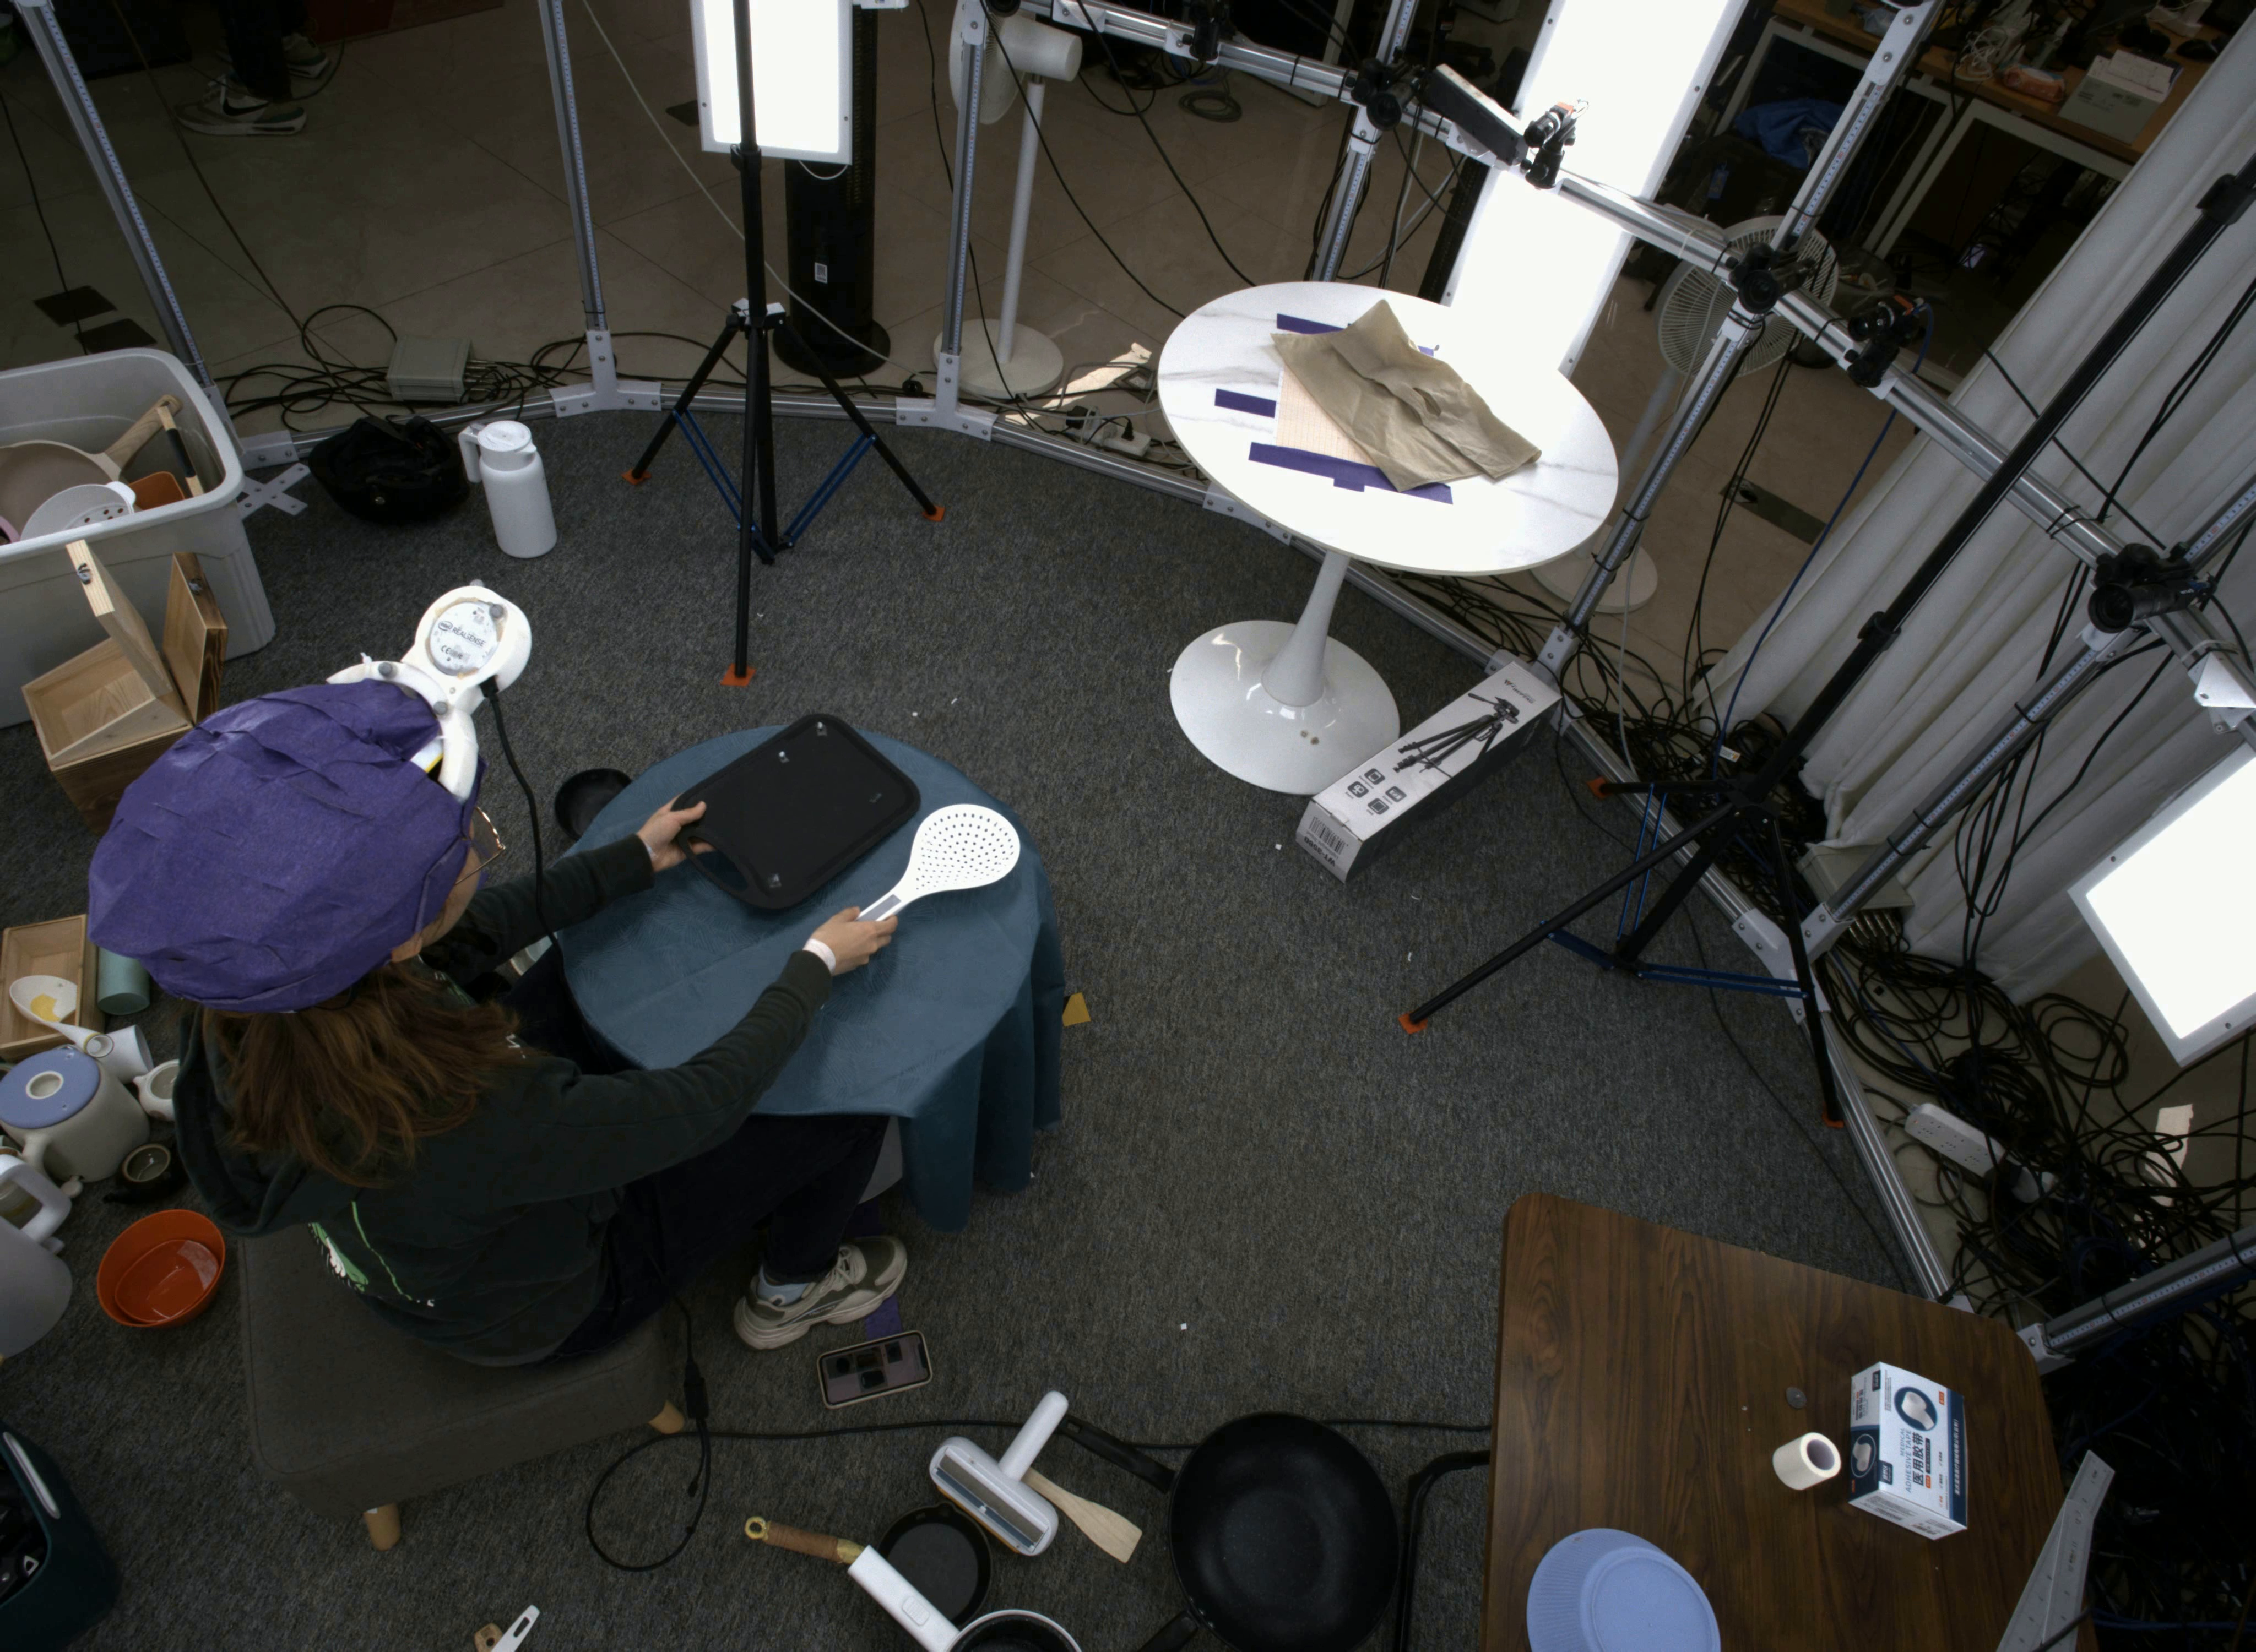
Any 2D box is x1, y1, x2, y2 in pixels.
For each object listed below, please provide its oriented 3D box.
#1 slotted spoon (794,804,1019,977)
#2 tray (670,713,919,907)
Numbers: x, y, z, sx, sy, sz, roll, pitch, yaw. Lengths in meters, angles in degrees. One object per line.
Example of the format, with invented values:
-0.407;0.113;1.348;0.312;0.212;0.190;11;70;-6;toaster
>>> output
-0.281;0.082;1.654;0.133;0.047;0.350;38;48;18;slotted spoon
-0.436;-0.025;1.699;0.209;0.010;0.325;41;47;6;tray
